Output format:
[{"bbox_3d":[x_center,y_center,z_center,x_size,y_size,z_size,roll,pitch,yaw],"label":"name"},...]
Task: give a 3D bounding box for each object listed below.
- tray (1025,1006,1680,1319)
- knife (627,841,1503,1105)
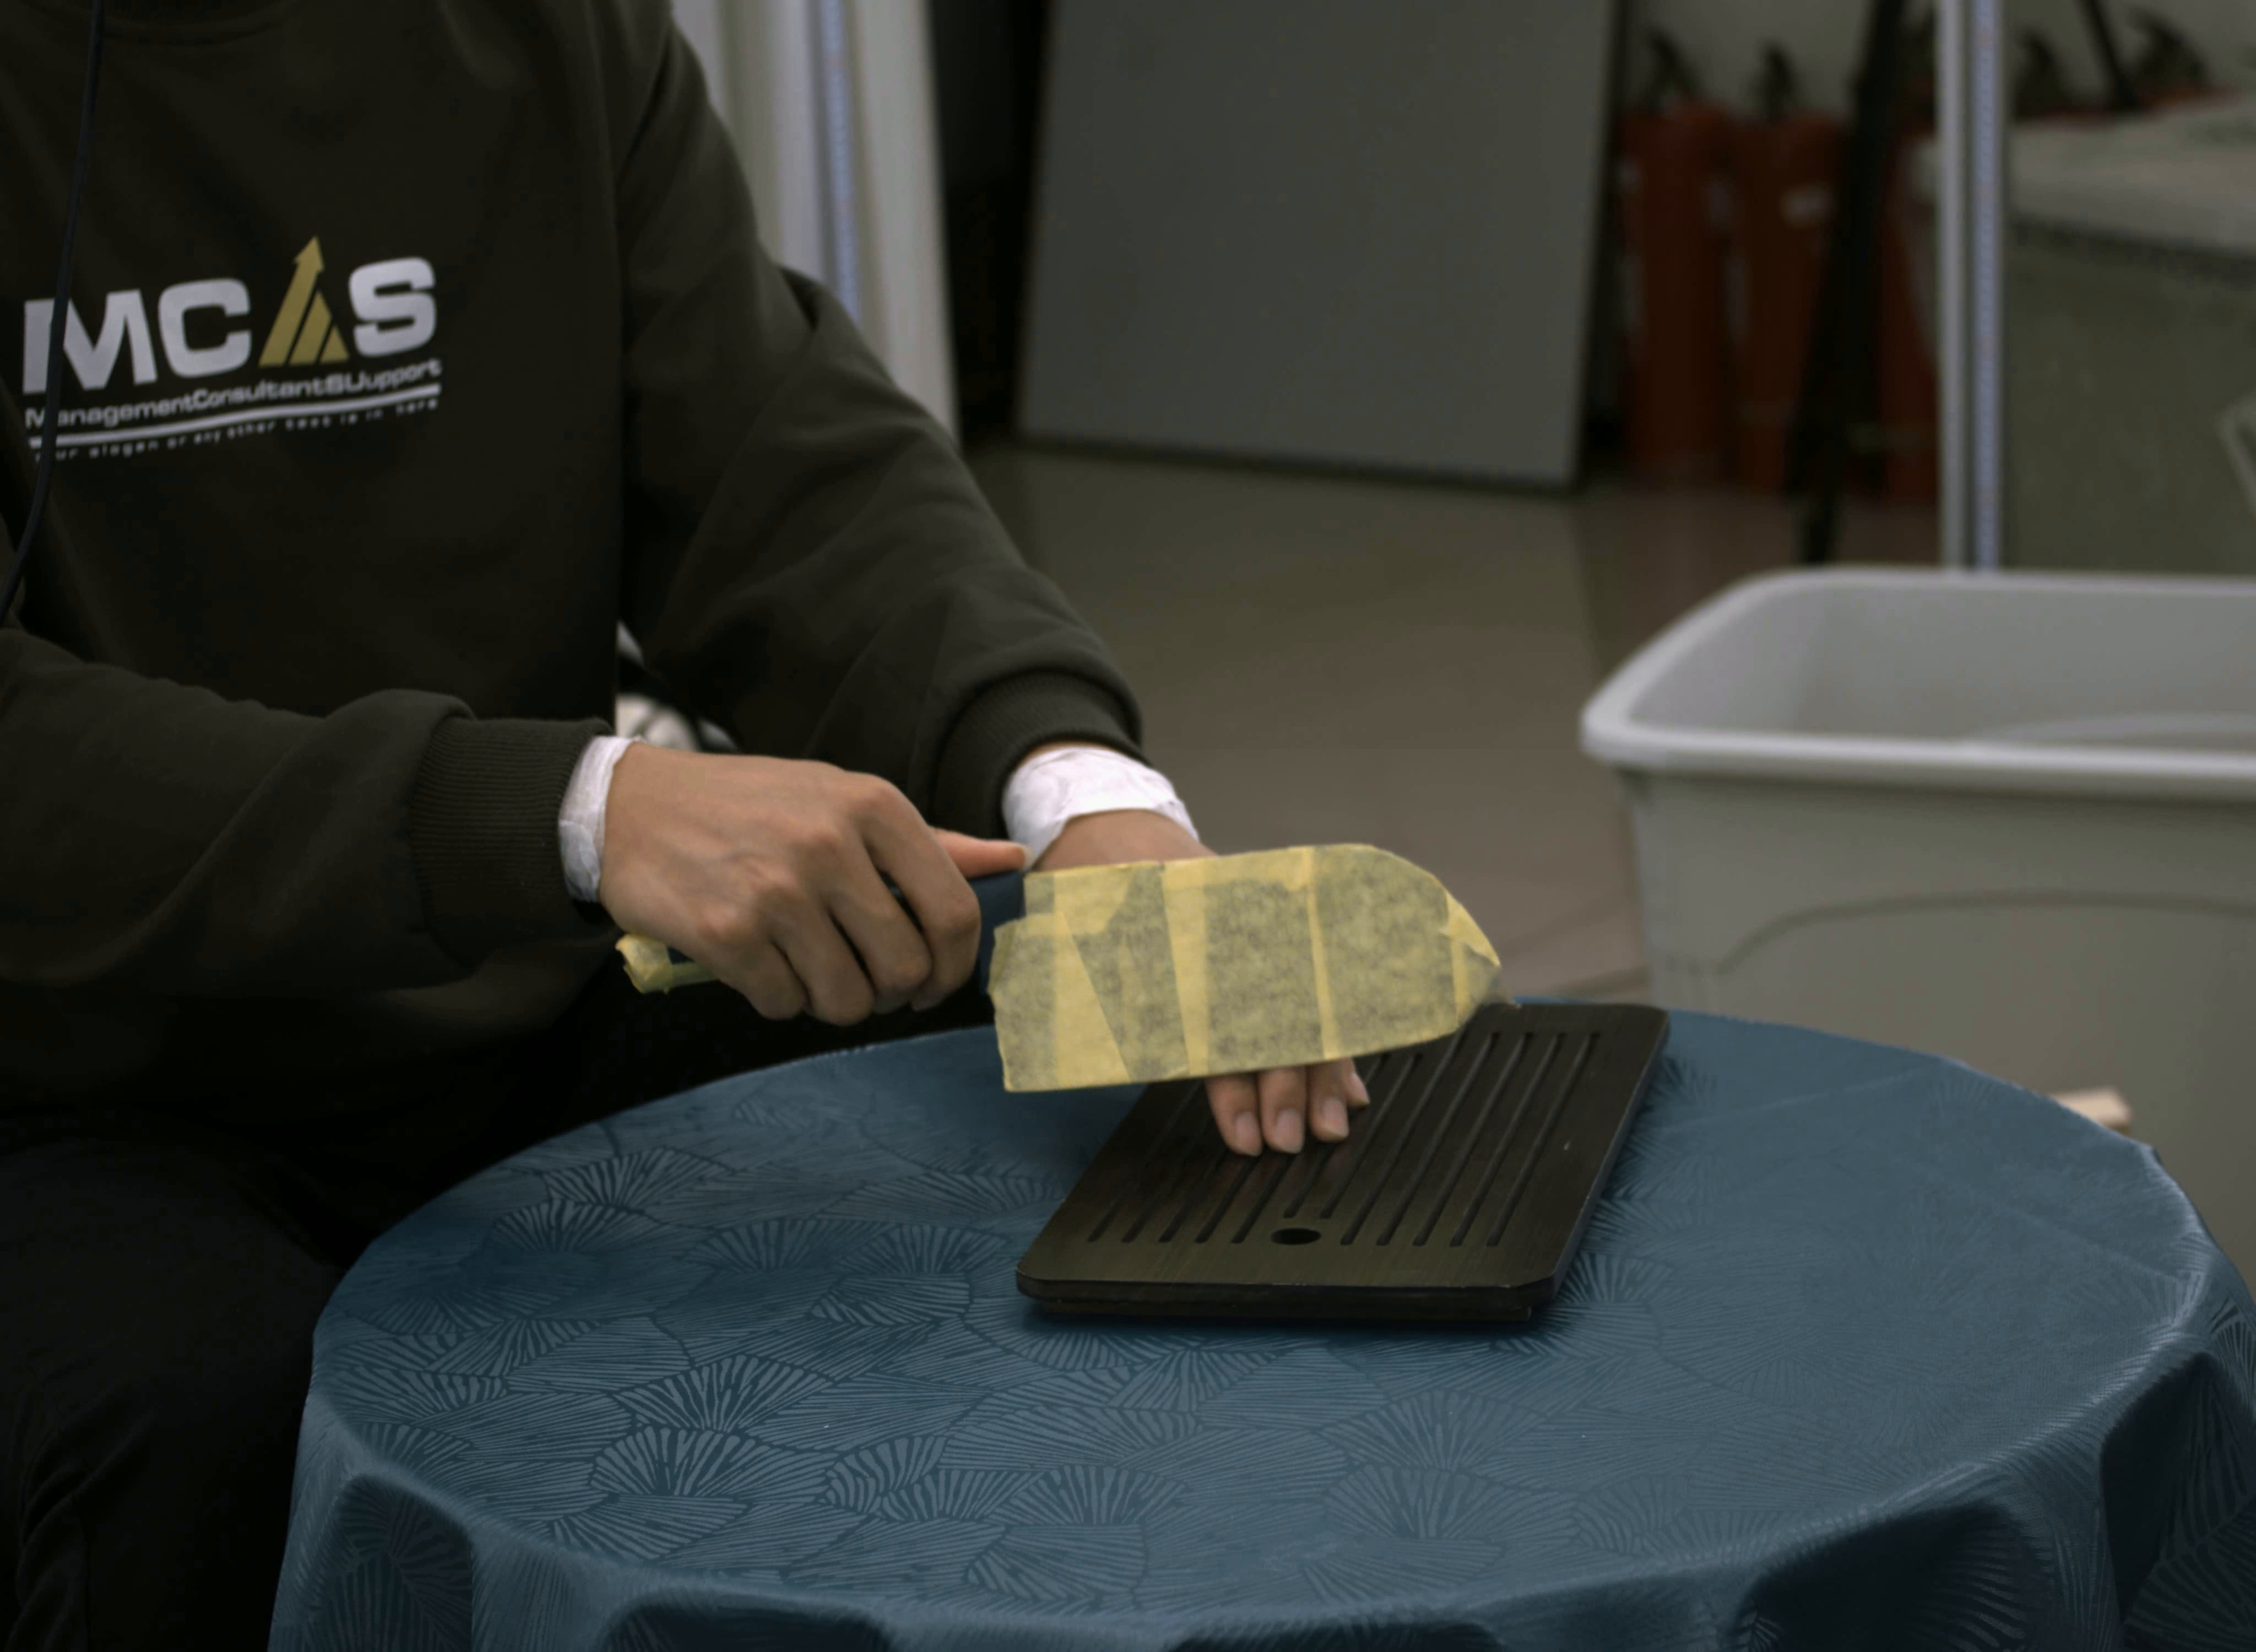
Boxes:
[{"bbox_3d":[0.081,0.108,1.766,0.169,0.019,0.304,-1,13,14],"label":"tray"},{"bbox_3d":[-0.019,0.050,1.758,0.286,0.082,0.027,-4,-16,0],"label":"knife"}]
